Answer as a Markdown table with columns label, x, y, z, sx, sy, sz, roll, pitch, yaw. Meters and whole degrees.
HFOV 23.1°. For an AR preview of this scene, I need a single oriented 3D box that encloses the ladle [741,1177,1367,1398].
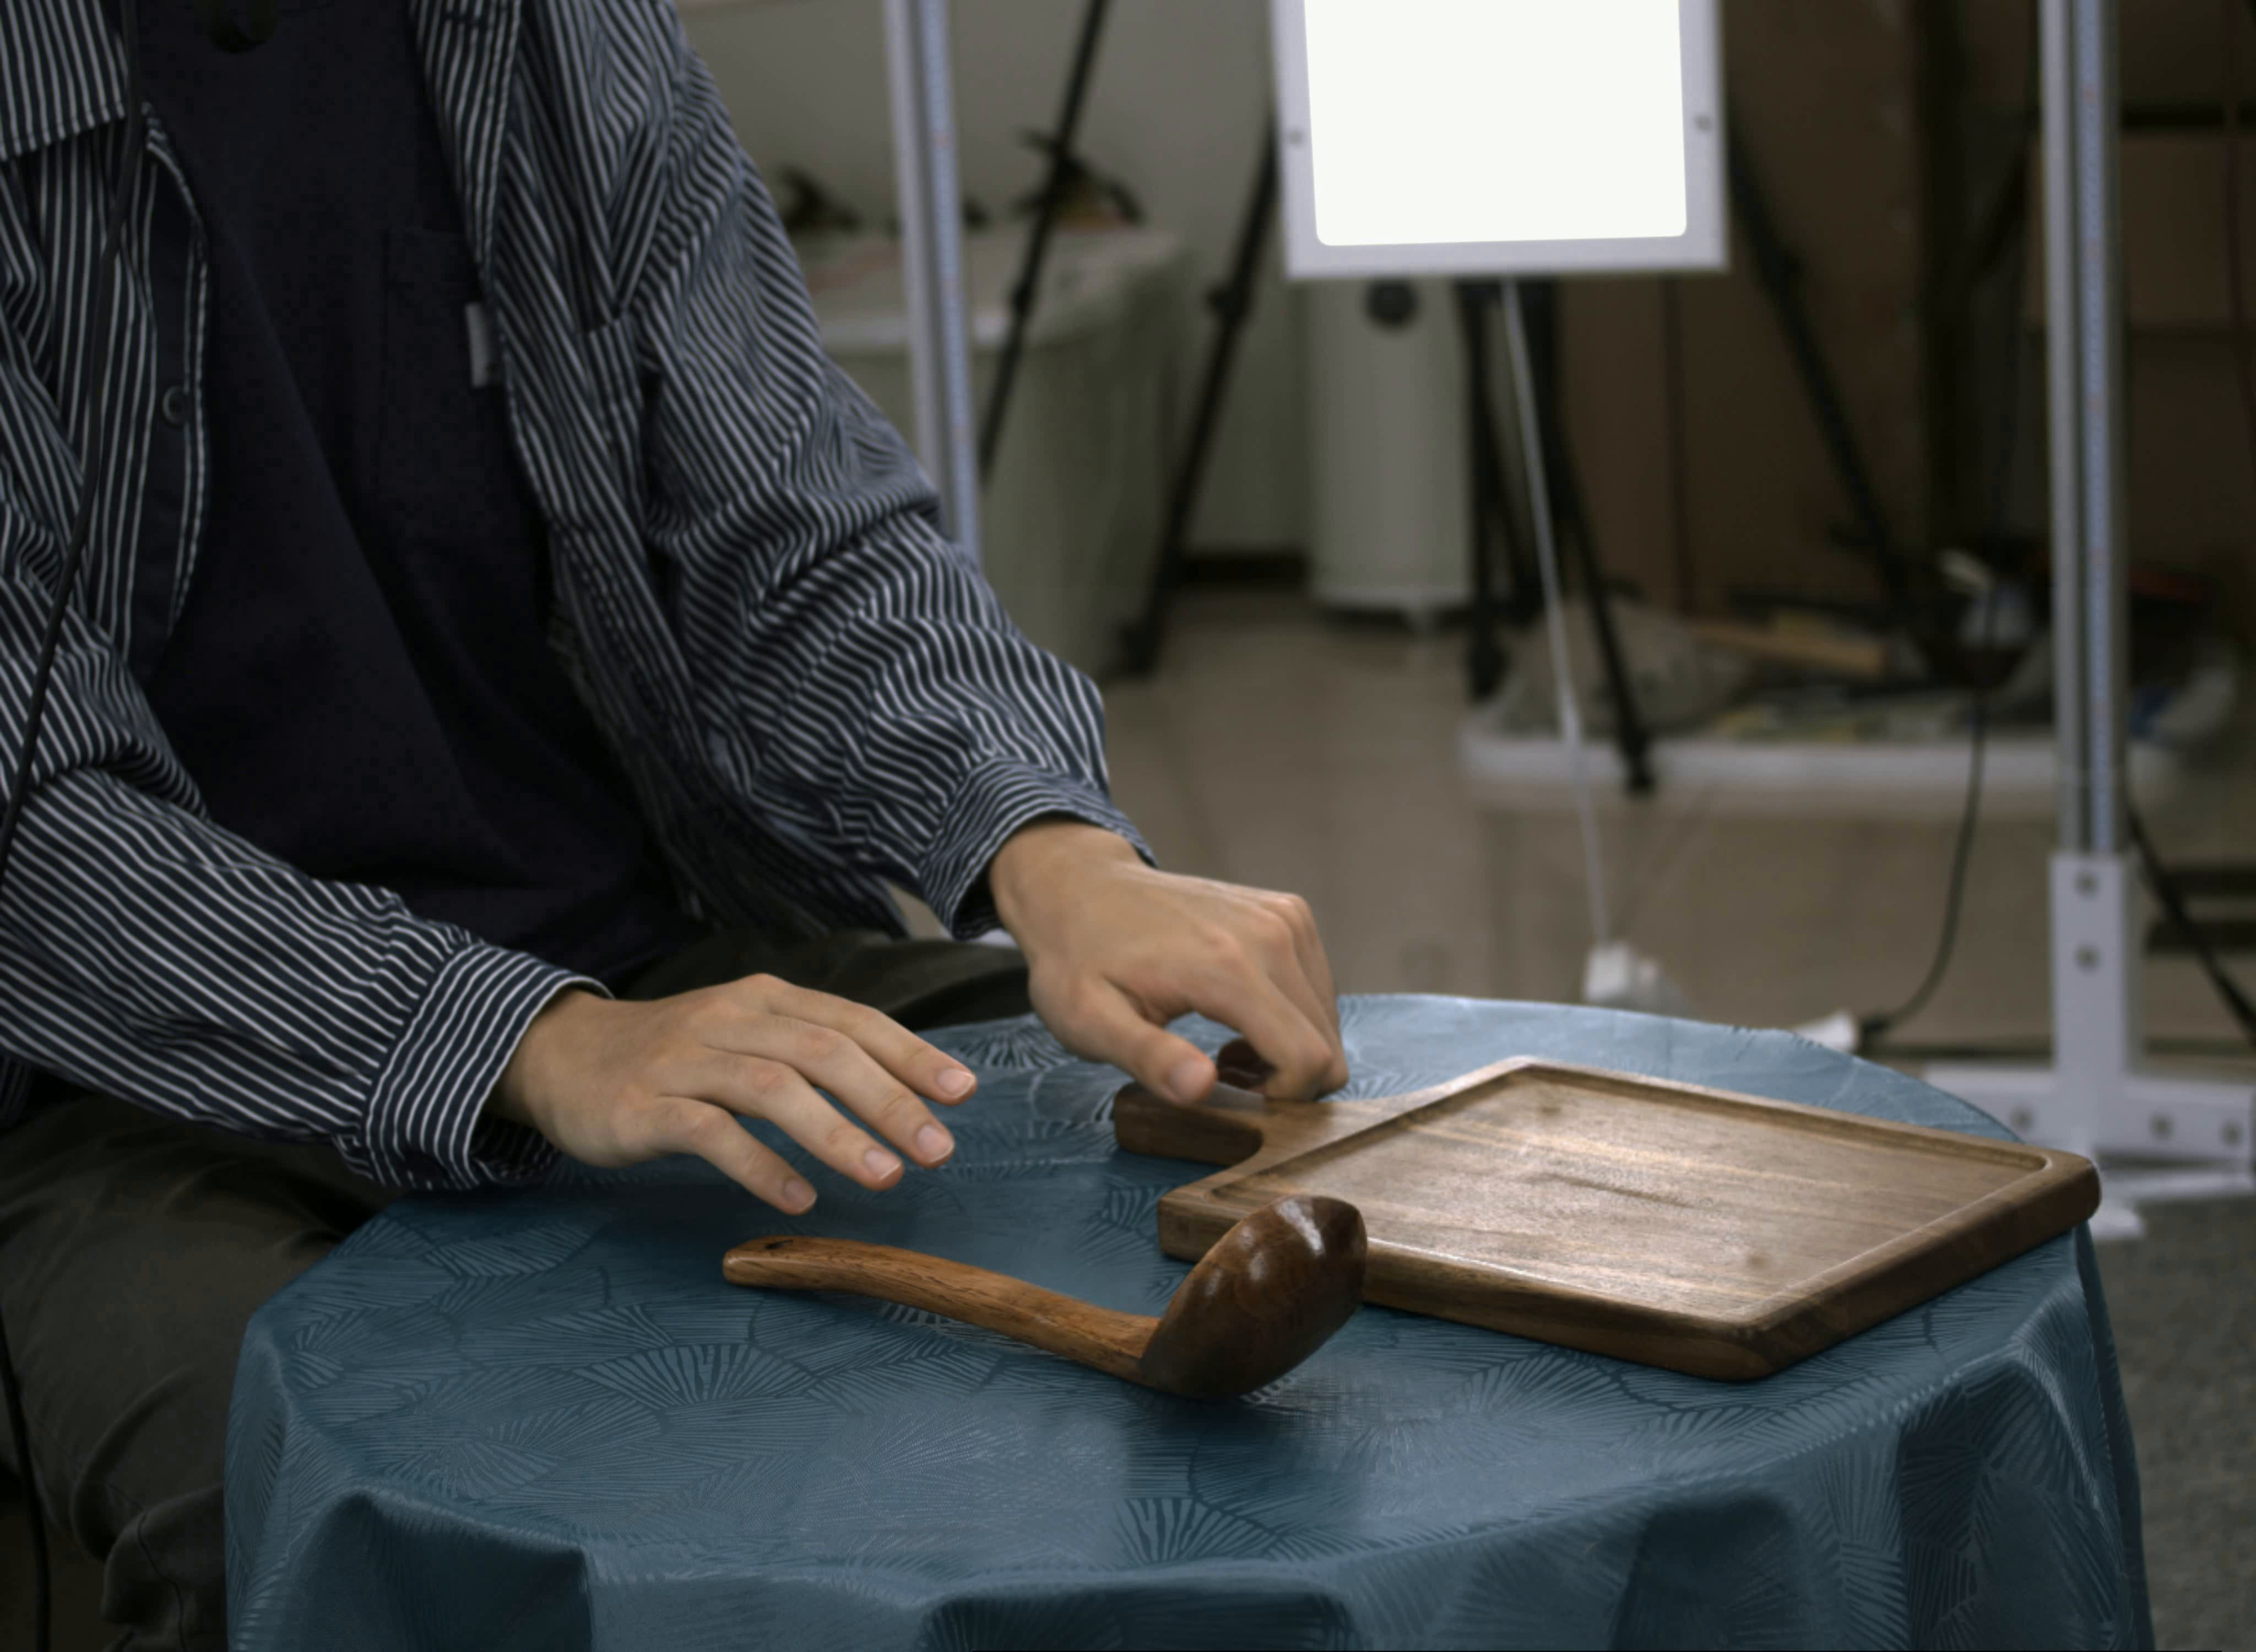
| label | x | y | z | sx | sy | sz | roll | pitch | yaw |
| --- | --- | --- | --- | --- | --- | --- | --- | --- | --- |
| ladle | -0.035 | 0.128 | 1.736 | 0.080 | 0.077 | 0.280 | -16 | 18 | -40 |

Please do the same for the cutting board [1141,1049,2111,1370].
| label | x | y | z | sx | sy | sz | roll | pitch | yaw |
| --- | --- | --- | --- | --- | --- | --- | --- | --- | --- |
| cutting board | 0.138 | 0.116 | 1.841 | 0.196 | 0.023 | 0.360 | -18 | 18 | -42 |
